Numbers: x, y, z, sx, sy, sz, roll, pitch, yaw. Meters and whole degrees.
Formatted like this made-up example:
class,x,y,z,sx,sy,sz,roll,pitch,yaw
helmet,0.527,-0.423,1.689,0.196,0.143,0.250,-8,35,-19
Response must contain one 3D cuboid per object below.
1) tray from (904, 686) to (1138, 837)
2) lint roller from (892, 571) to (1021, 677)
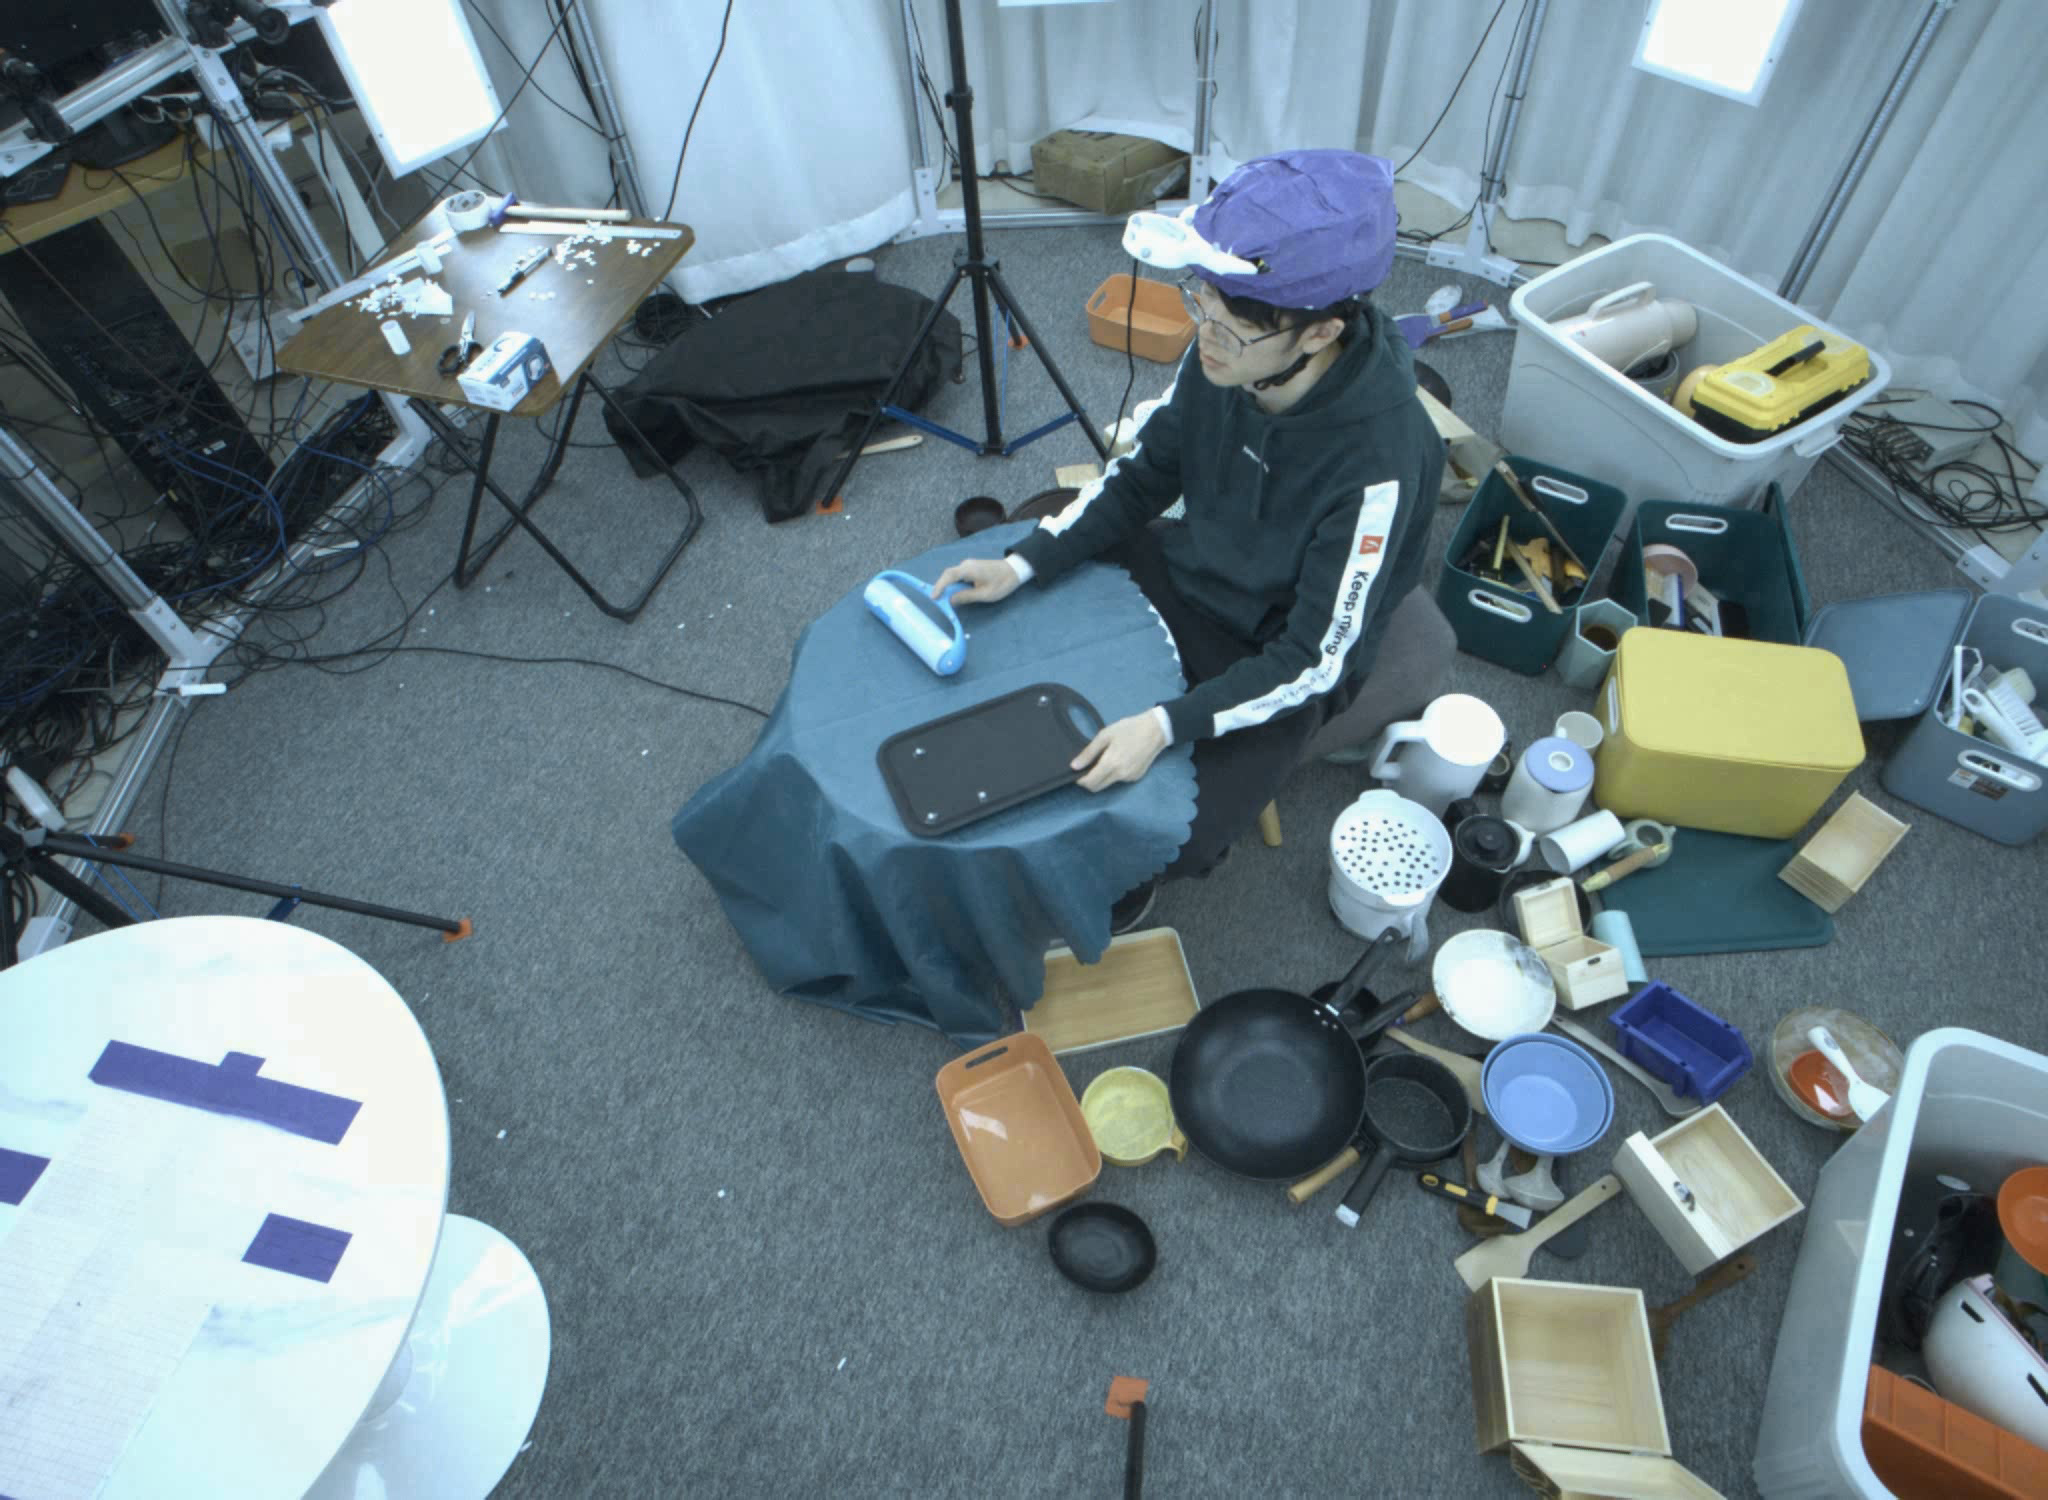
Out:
class,x,y,z,sx,sy,sz,roll,pitch,yaw
tray,-0.001,0.007,1.759,0.327,0.010,0.207,-18,49,-10
lint roller,-0.082,-0.223,1.909,0.181,0.069,0.224,-36,59,-20
